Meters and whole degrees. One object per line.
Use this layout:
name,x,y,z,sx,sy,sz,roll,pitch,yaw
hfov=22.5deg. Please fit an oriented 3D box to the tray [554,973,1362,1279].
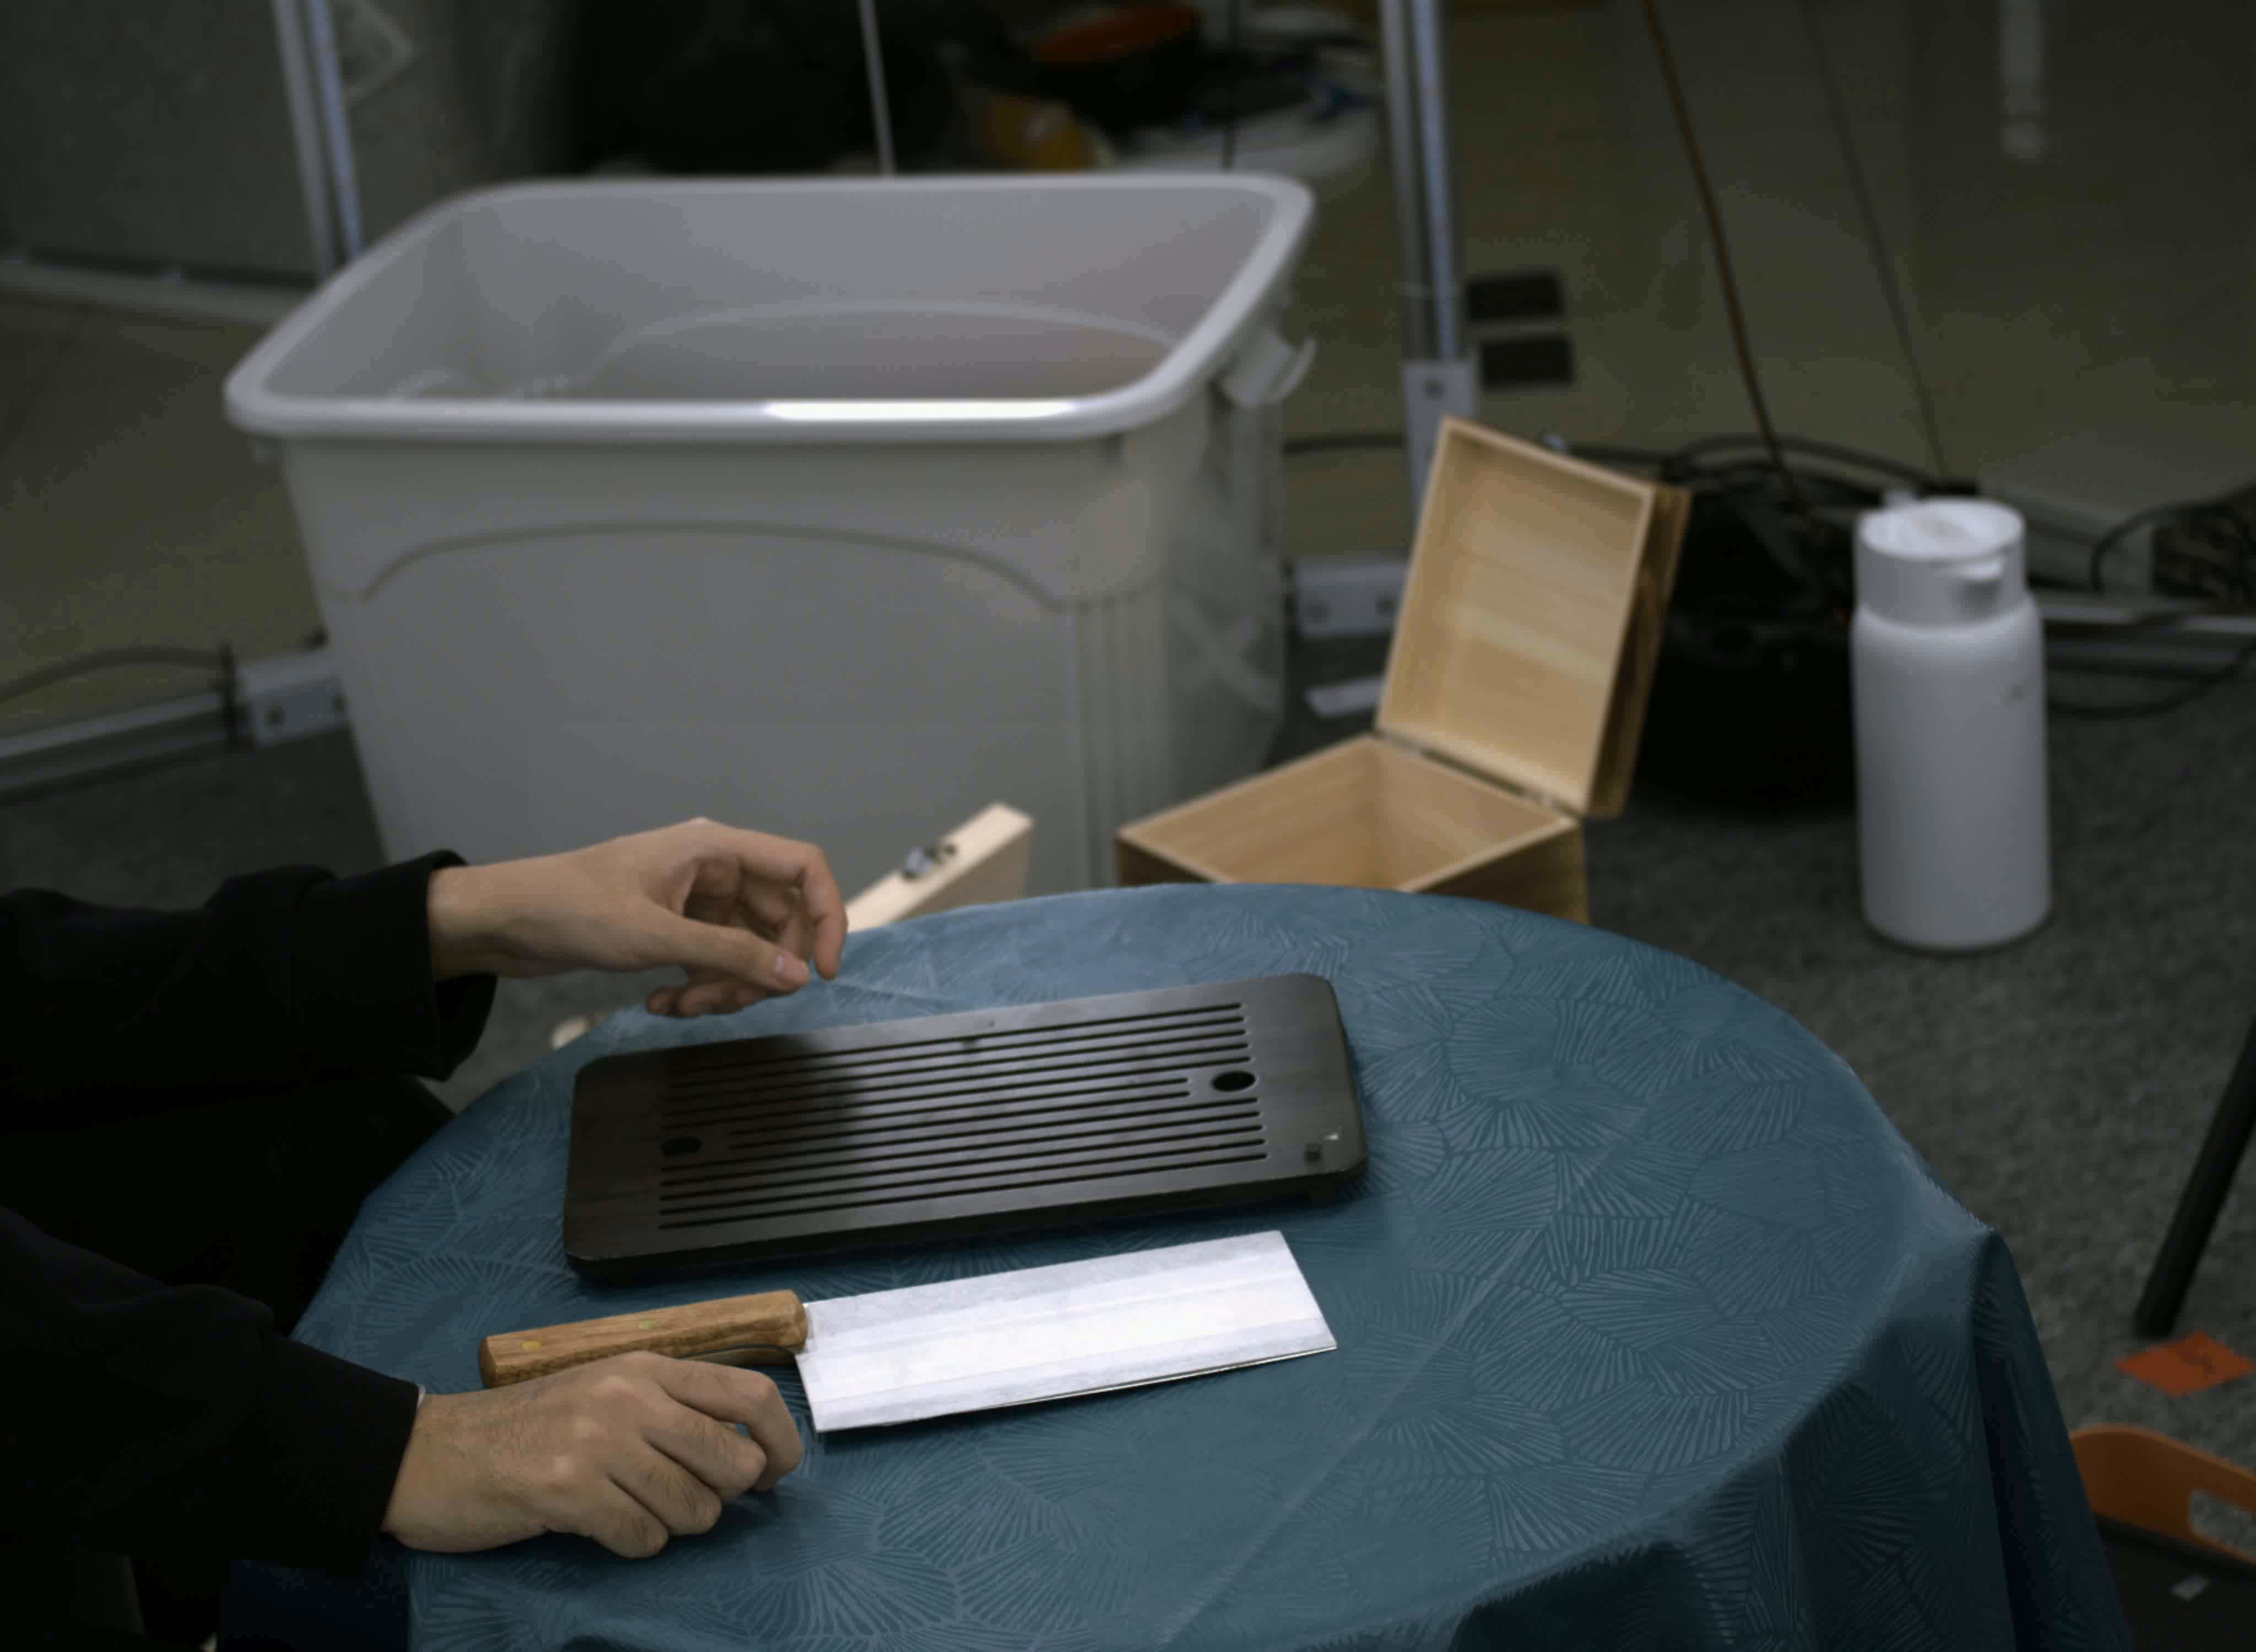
tray,-0.067,0.116,2.190,0.305,0.019,0.167,-6,25,0

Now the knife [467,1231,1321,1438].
knife,-0.083,0.189,2.042,0.305,0.021,0.091,-8,27,-9
